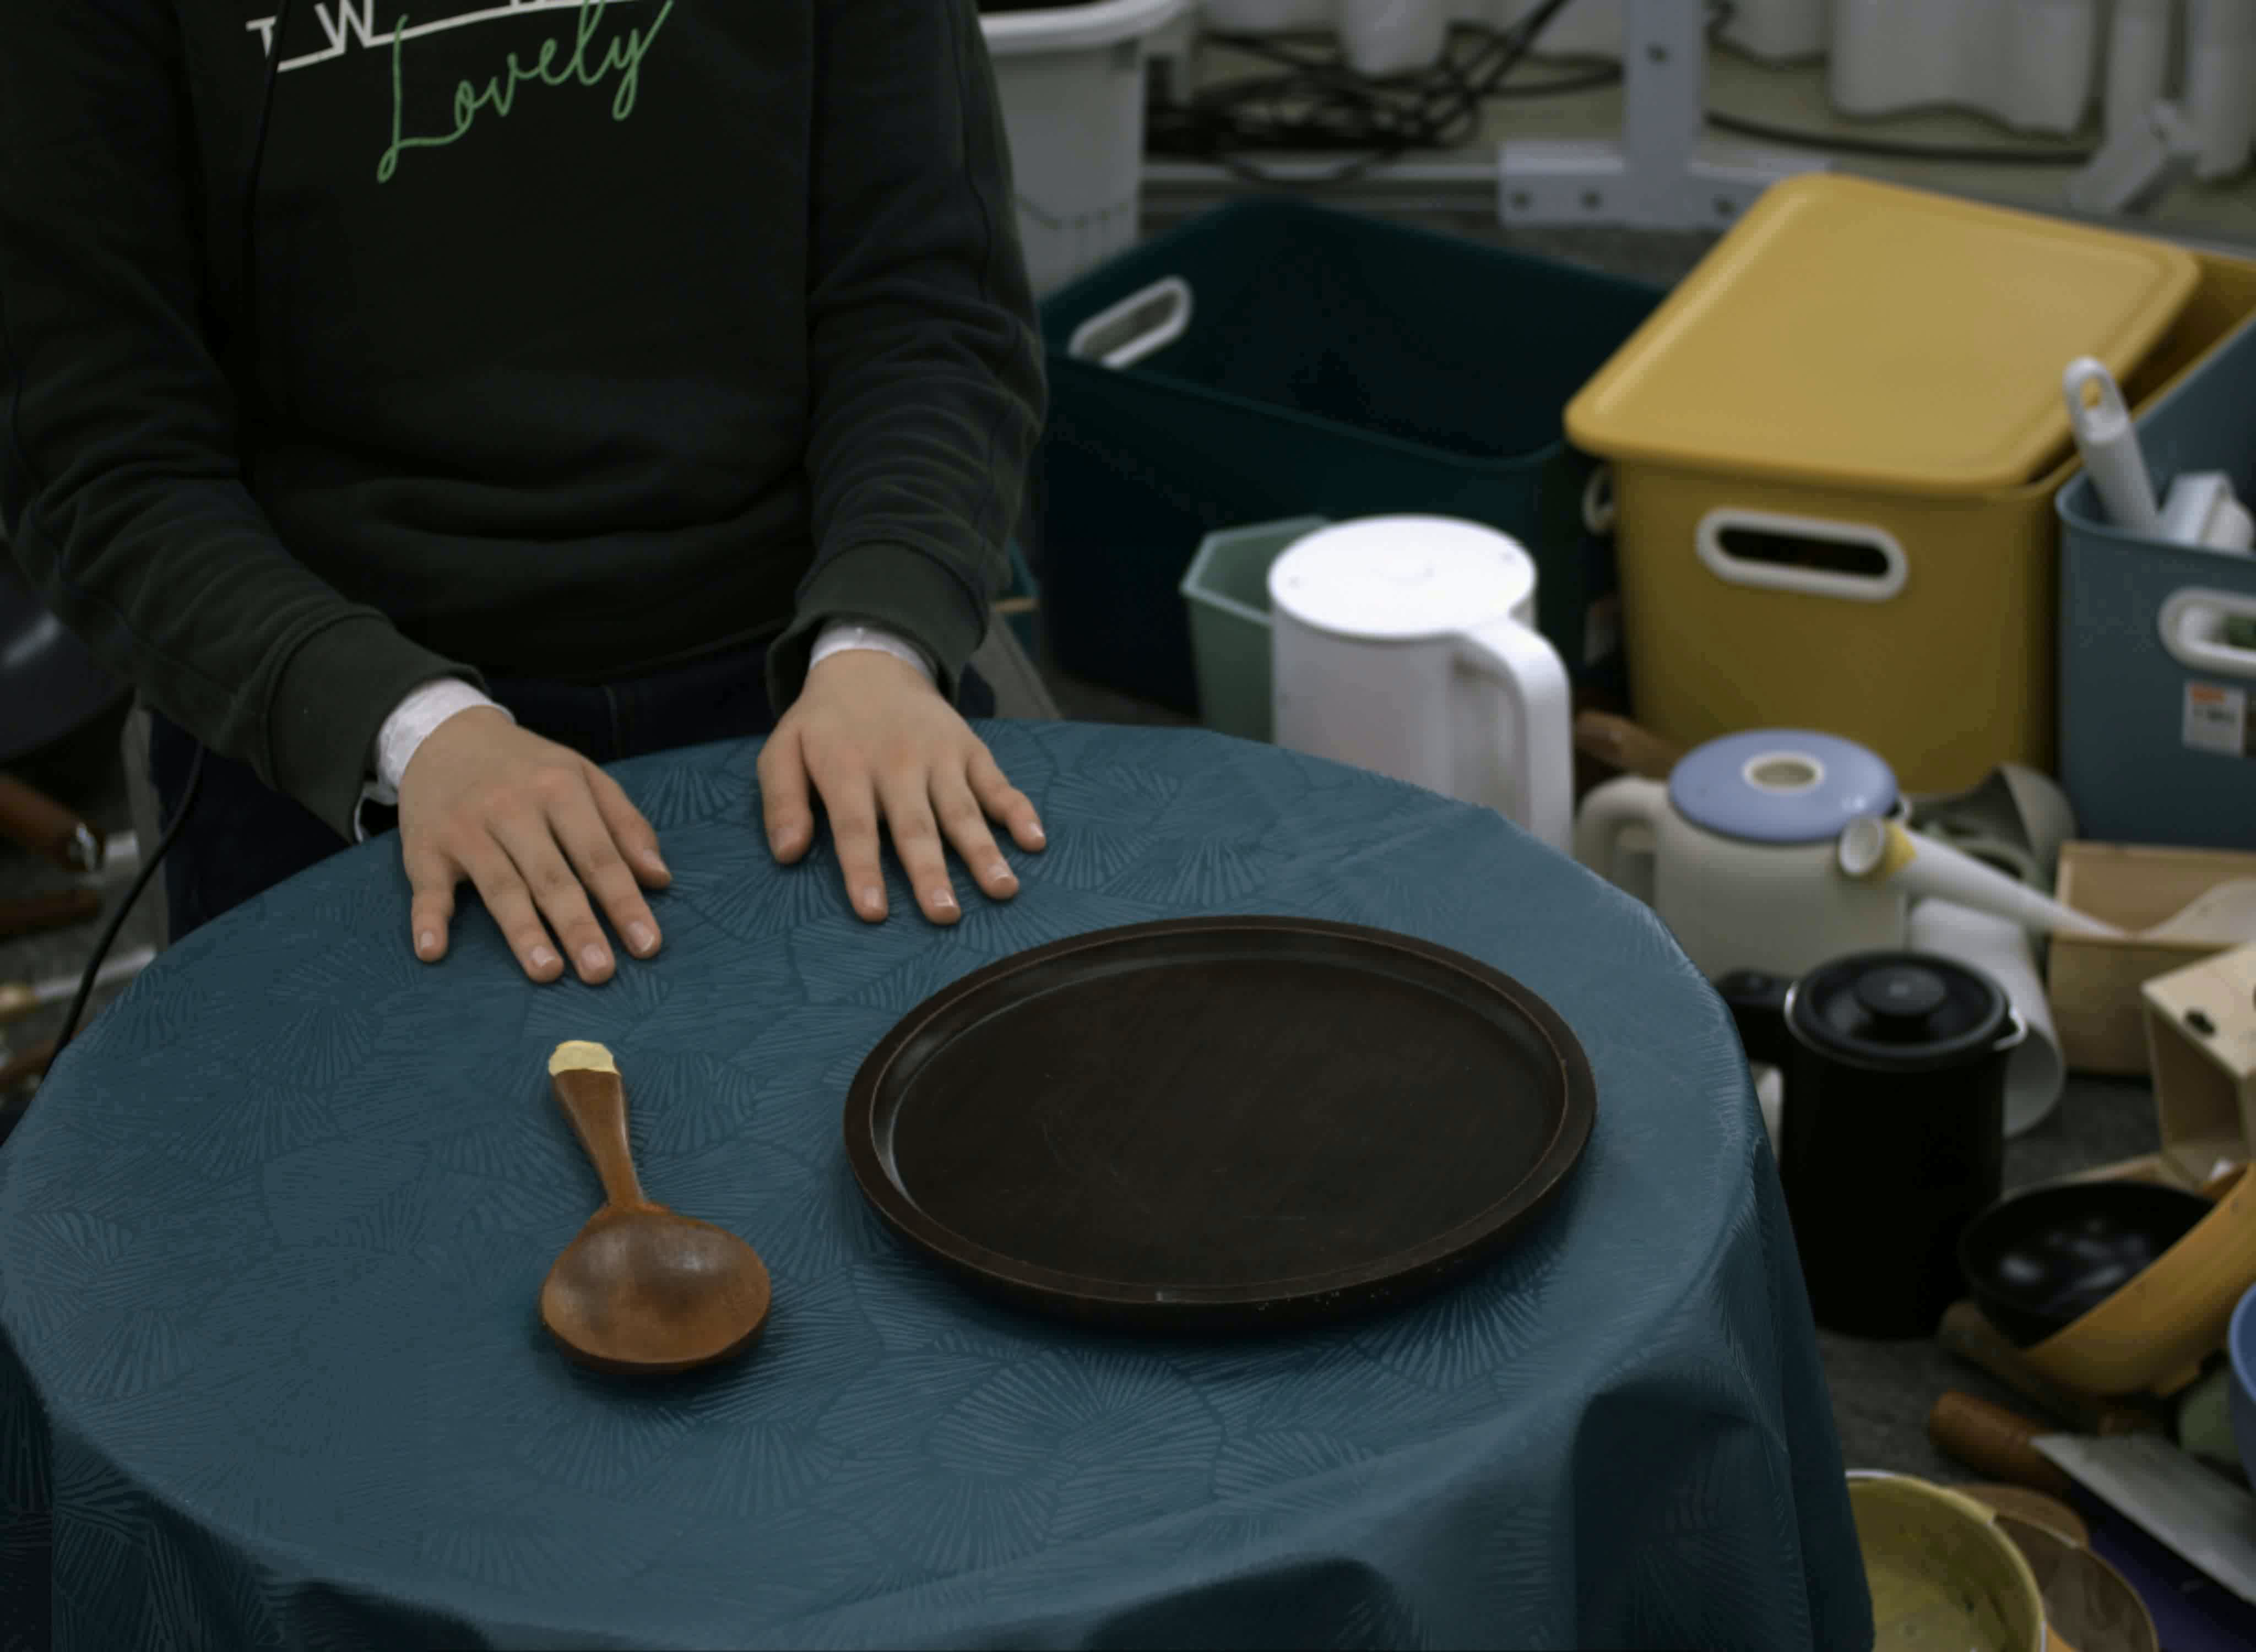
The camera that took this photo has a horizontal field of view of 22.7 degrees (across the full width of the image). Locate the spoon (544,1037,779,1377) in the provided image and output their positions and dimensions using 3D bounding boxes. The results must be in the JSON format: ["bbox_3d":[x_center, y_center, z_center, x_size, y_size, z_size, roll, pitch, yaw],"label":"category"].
[{"bbox_3d":[-0.164,0.126,1.850,0.075,0.017,0.218,-9,28,-11],"label":"spoon"}]

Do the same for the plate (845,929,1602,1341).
[{"bbox_3d":[0.031,0.100,1.876,0.253,0.029,0.259,-1,28,1],"label":"plate"}]
